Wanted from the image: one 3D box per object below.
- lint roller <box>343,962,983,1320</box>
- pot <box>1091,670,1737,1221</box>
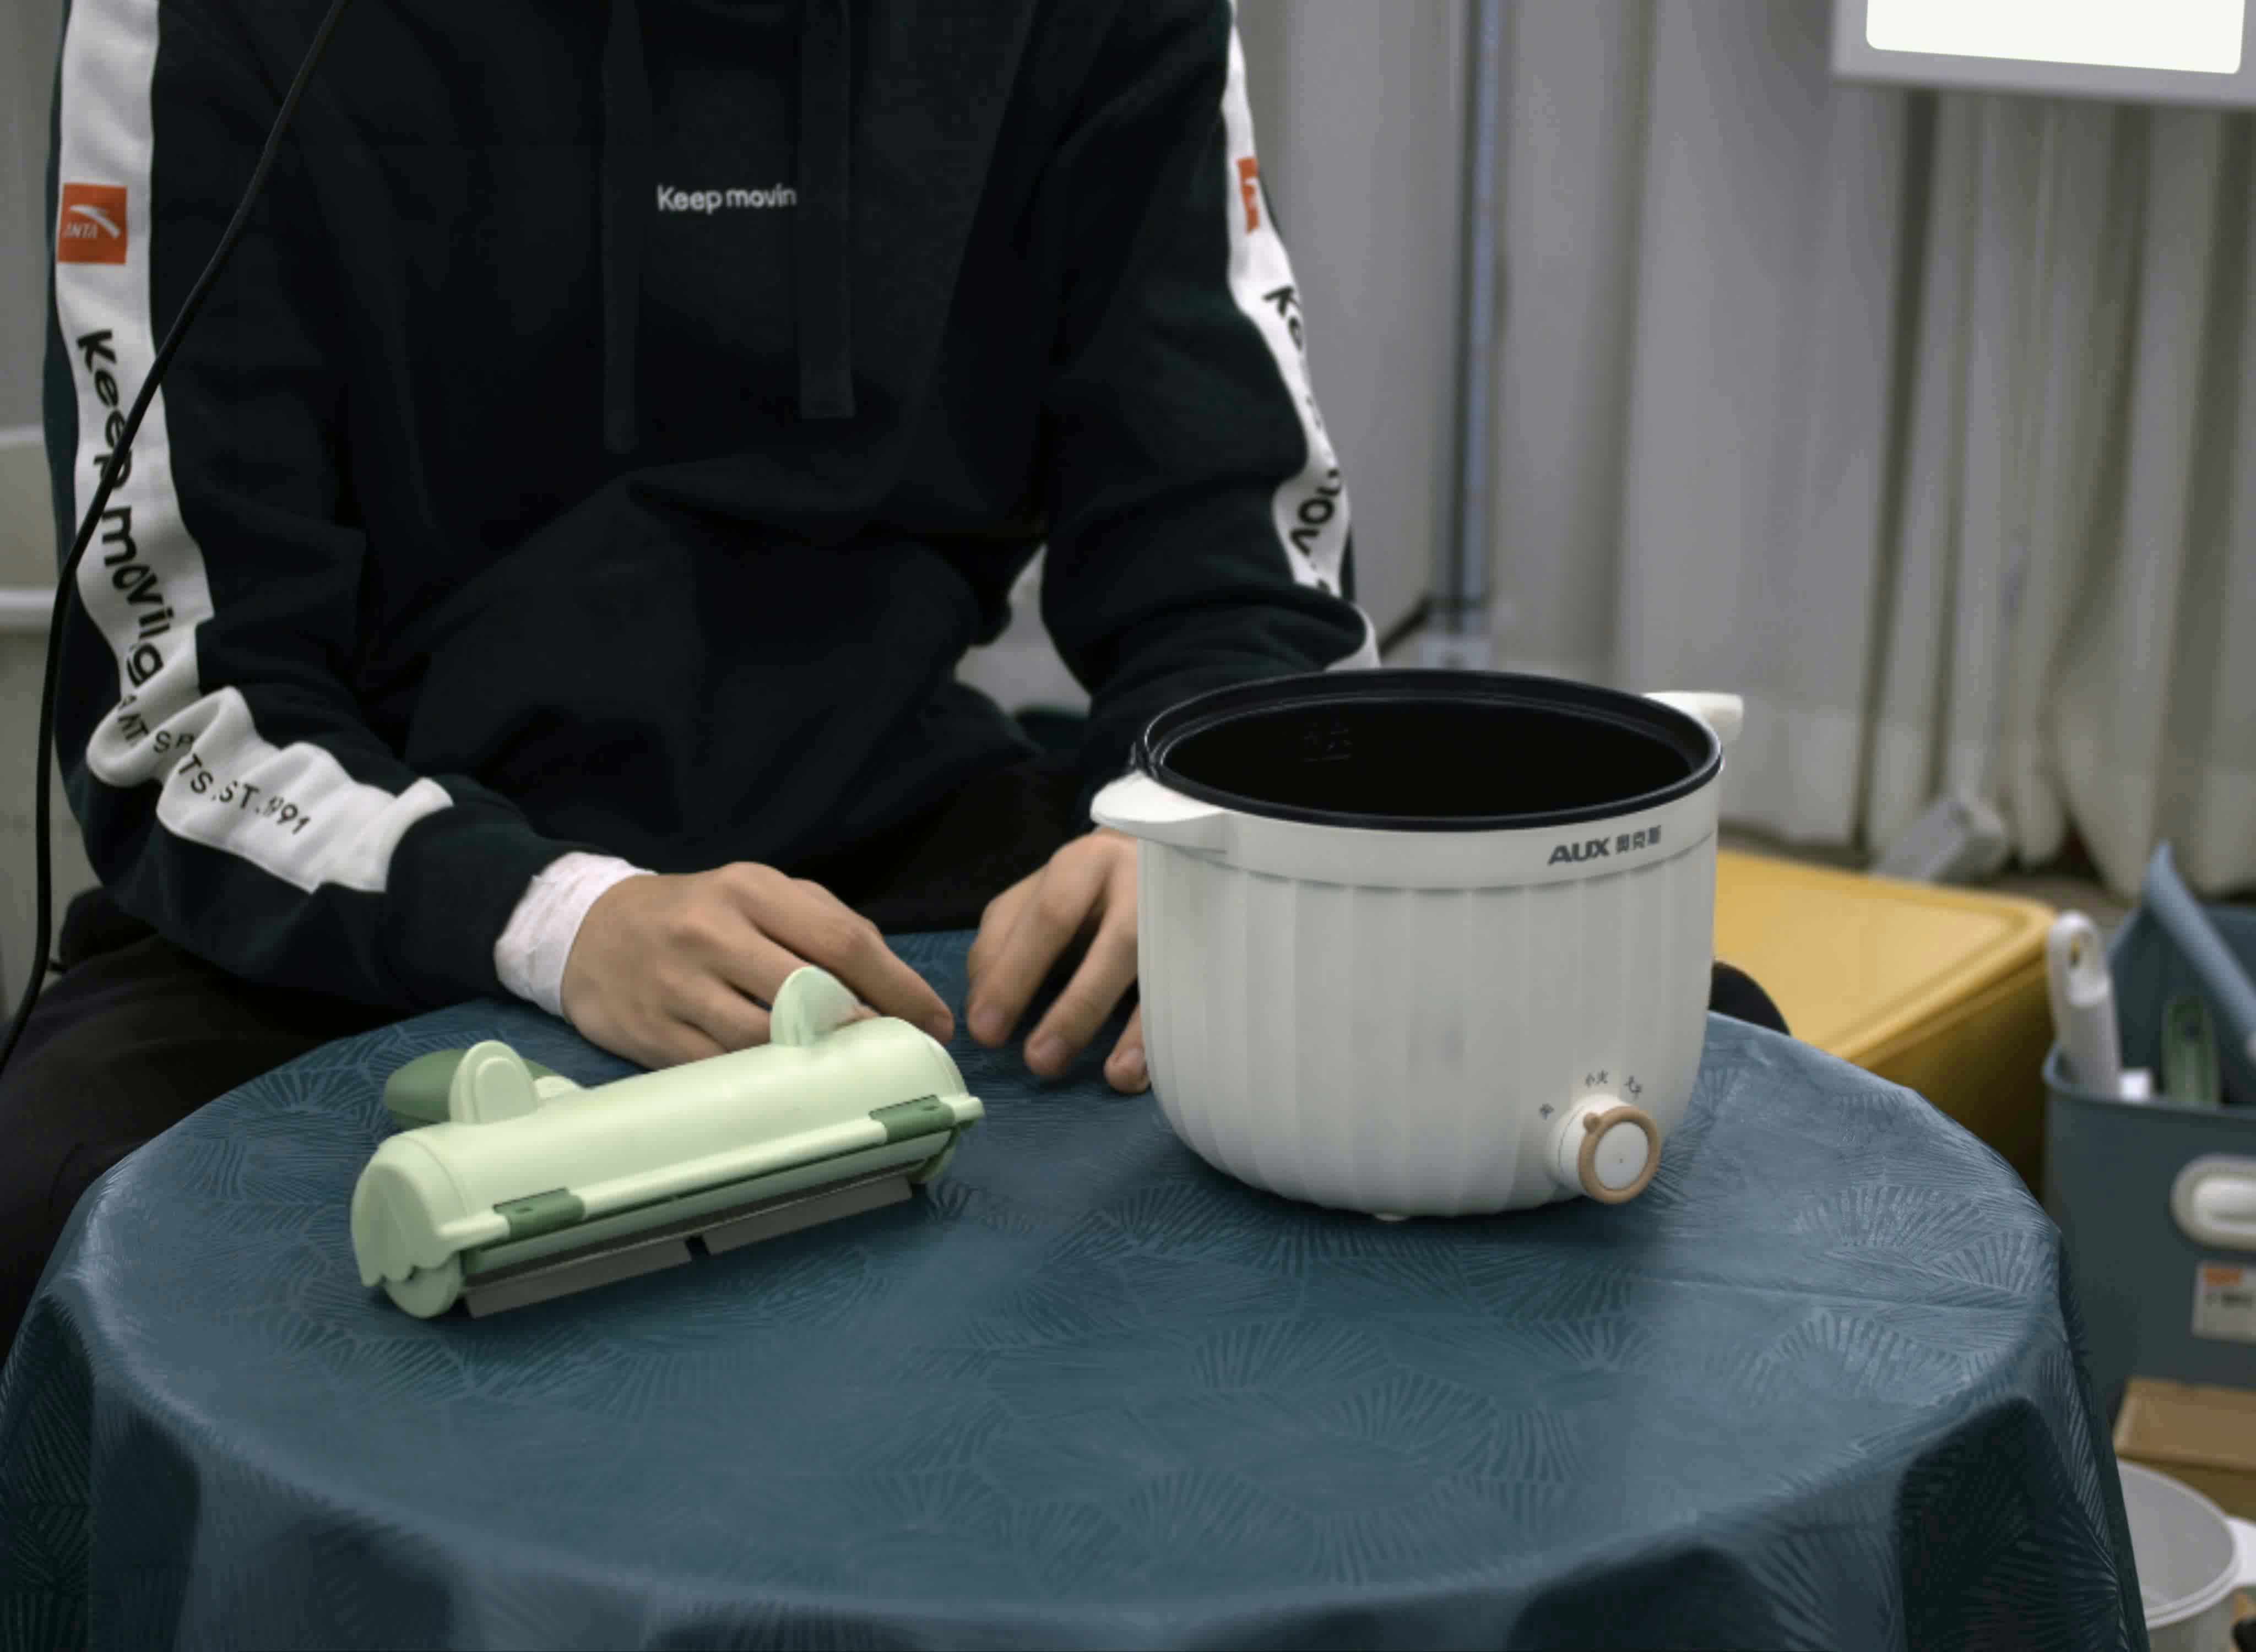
[{"bbox_3d":[-0.172,0.077,1.599,0.199,0.083,0.181,-13,26,-38],"label":"lint roller"},{"bbox_3d":[0.096,0.039,1.630,0.241,0.144,0.188,-12,17,-33],"label":"pot"}]
